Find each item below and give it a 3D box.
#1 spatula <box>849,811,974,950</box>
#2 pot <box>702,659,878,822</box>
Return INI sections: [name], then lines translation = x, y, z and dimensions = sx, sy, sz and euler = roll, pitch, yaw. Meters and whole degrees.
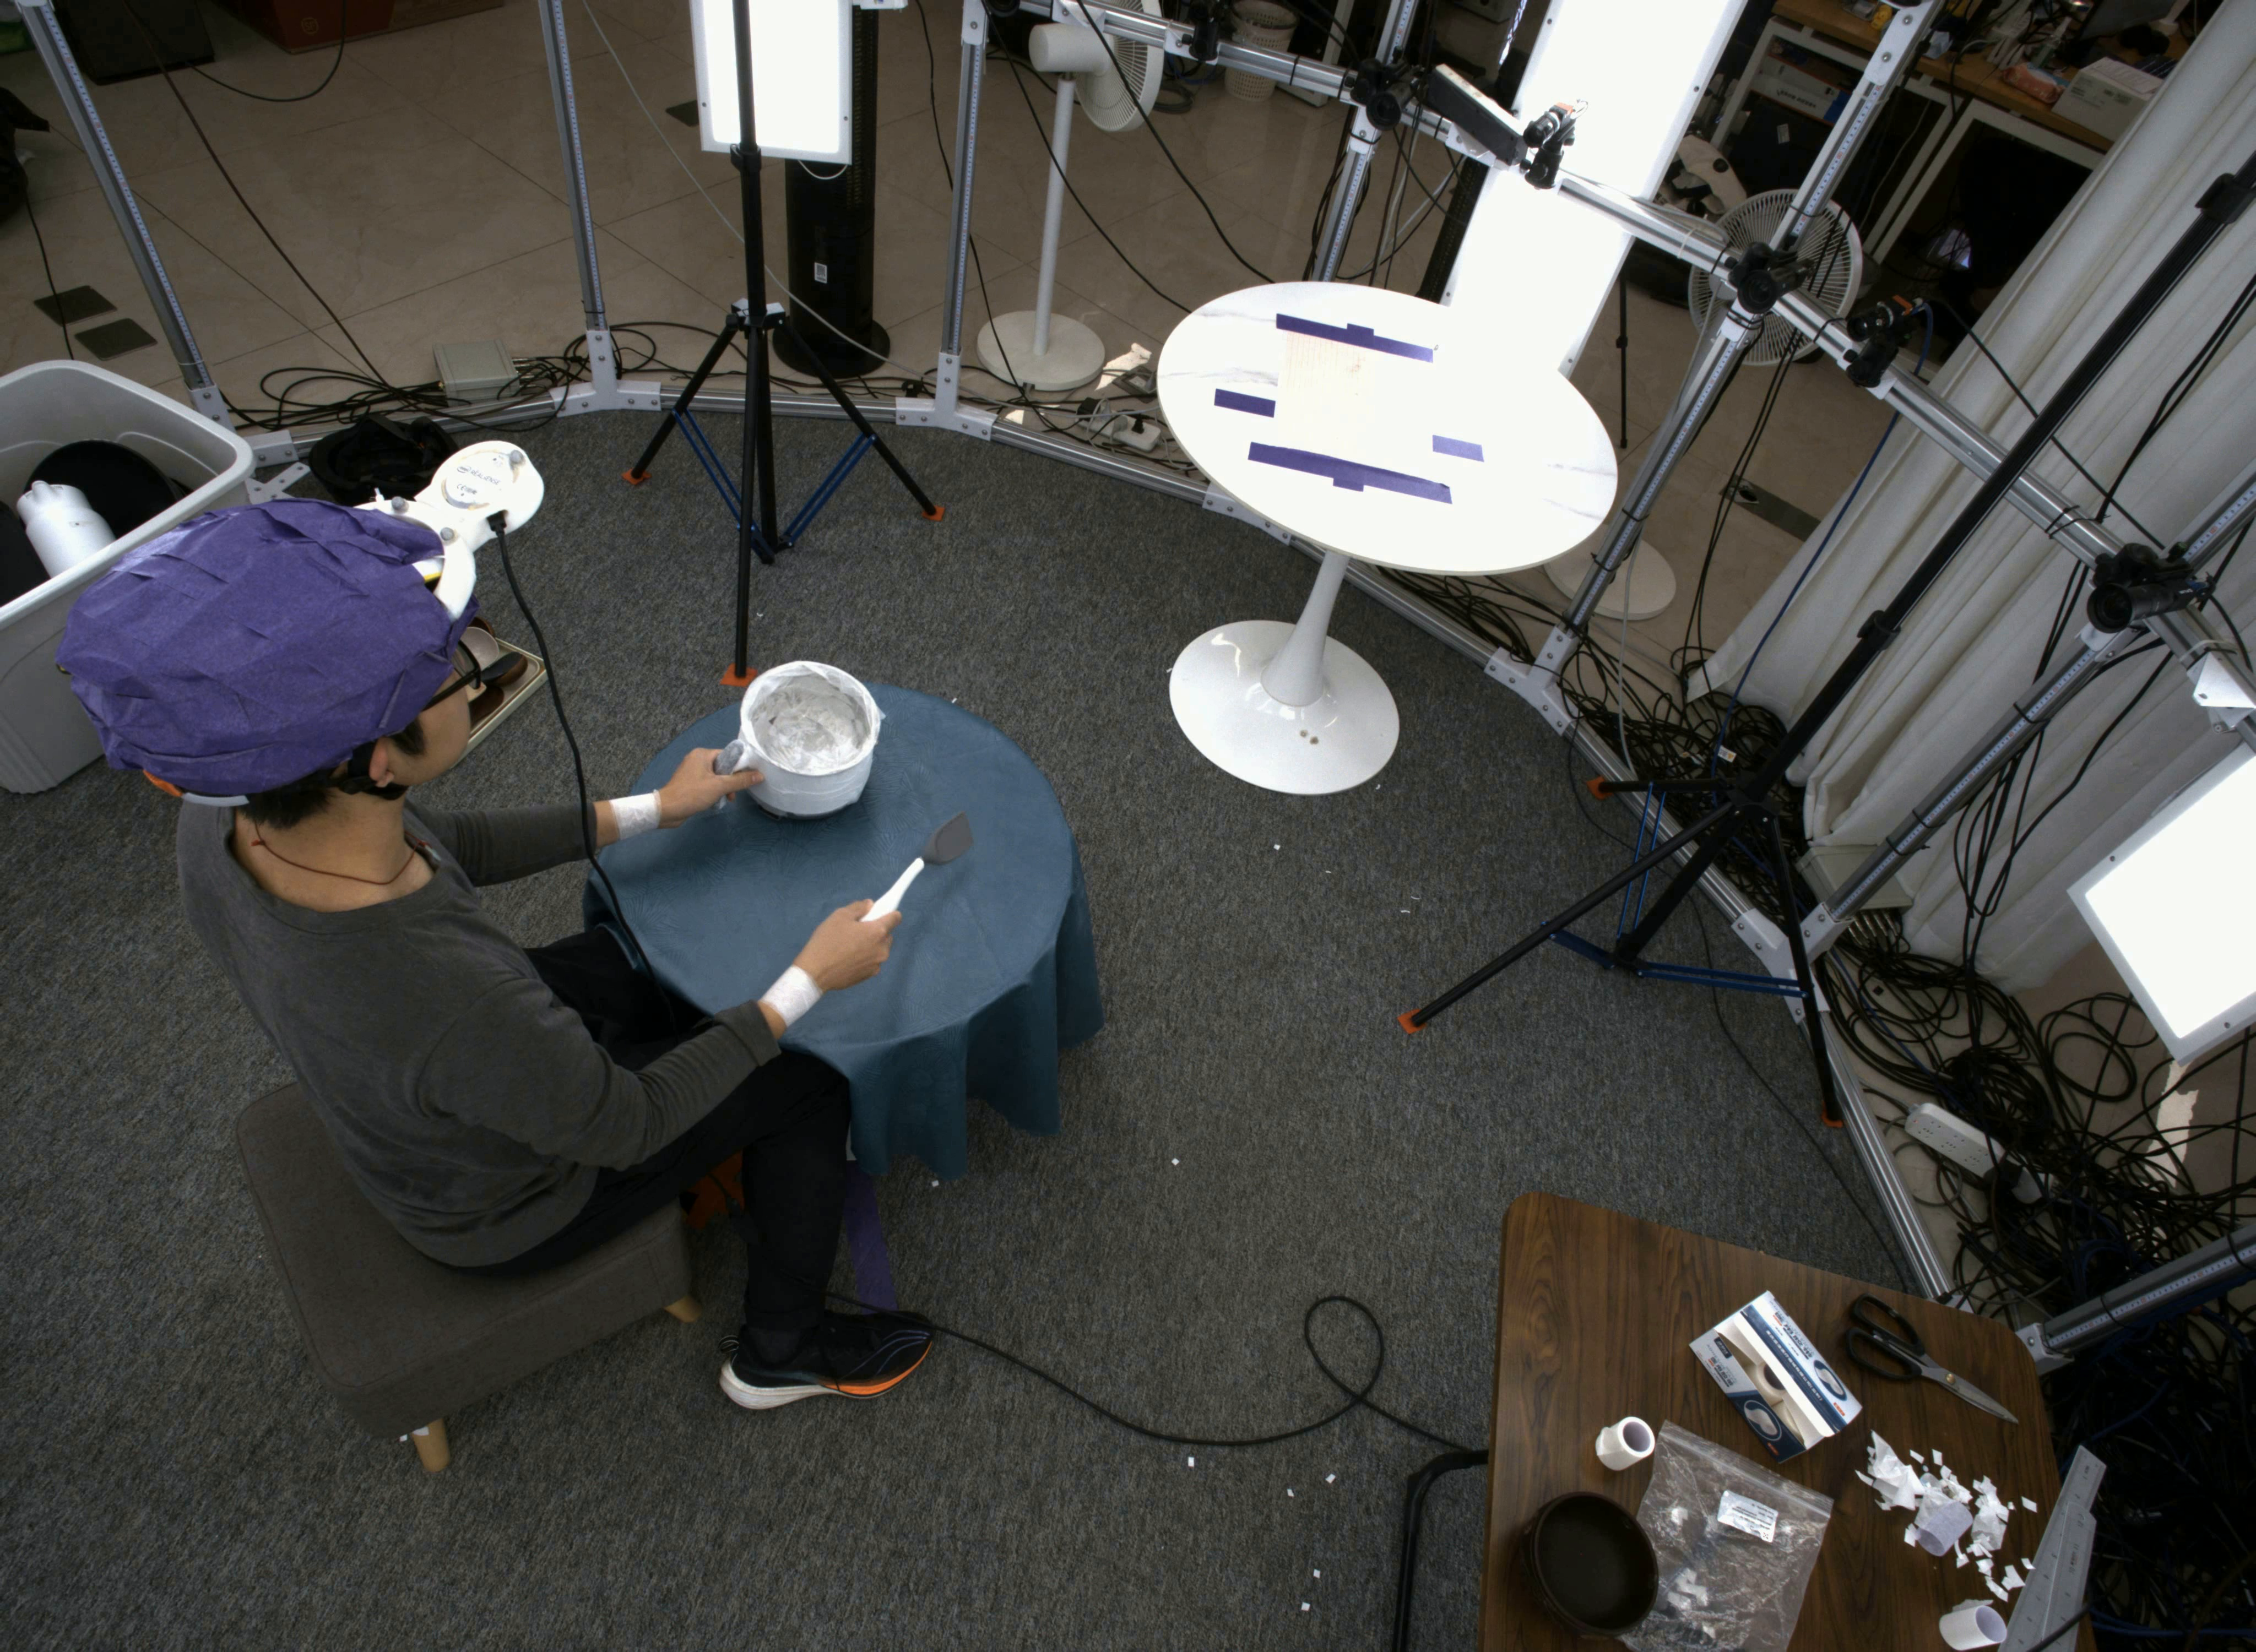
[spatula]
translation = -0.263, 0.064, 1.614
dimensions = 0.031, 0.060, 0.286
euler = -3, 25, 22
[pot]
translation = -0.448, -0.097, 1.700
dimensions = 0.235, 0.138, 0.176
euler = -29, 72, -32
